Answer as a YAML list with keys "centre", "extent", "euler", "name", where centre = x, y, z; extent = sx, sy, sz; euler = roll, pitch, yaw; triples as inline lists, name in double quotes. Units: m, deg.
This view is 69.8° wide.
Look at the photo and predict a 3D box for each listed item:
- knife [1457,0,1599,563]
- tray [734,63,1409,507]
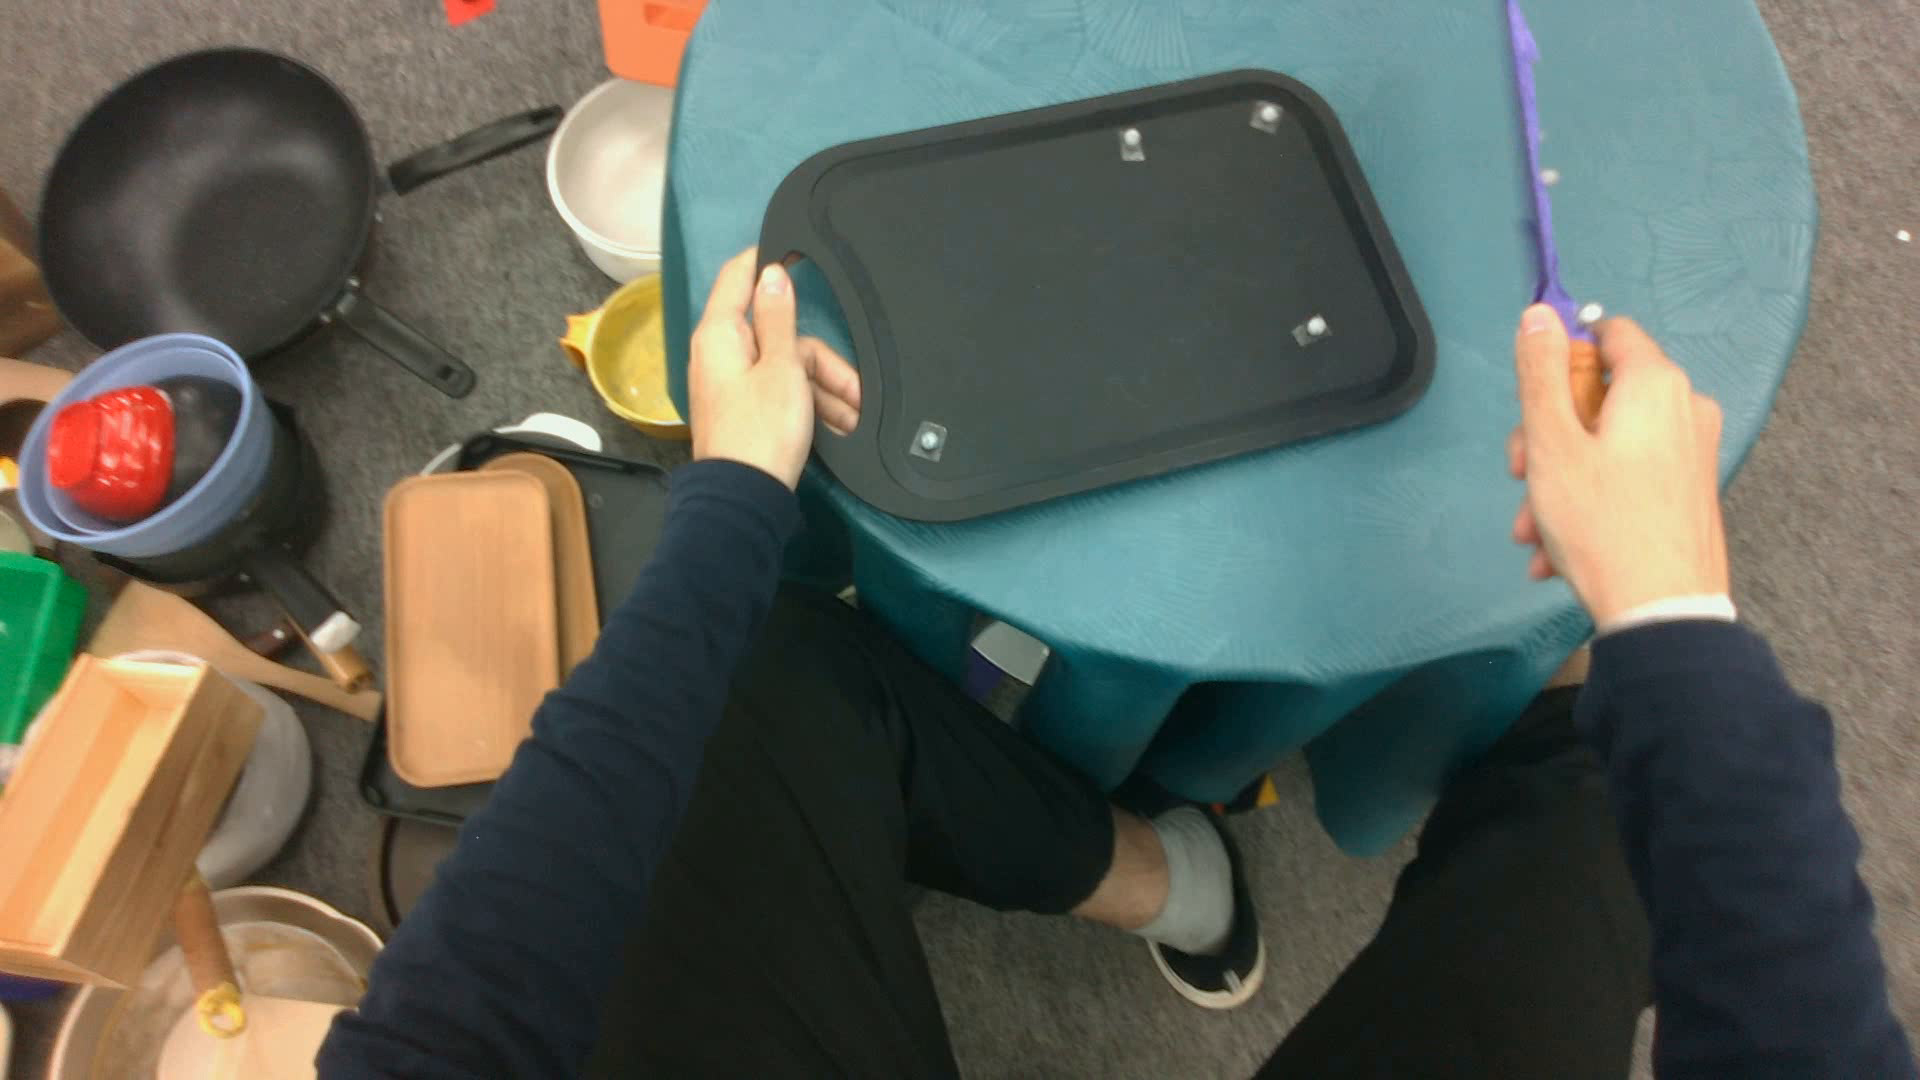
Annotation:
- centre: [0.240, -0.141, 0.597]
  extent: [0.032, 0.104, 0.316]
  euler: [-5, 77, 19]
  name: "knife"
- centre: [0.054, -0.133, 0.680]
  extent: [0.326, 0.010, 0.211]
  euler: [-13, 72, -12]
  name: "tray"
